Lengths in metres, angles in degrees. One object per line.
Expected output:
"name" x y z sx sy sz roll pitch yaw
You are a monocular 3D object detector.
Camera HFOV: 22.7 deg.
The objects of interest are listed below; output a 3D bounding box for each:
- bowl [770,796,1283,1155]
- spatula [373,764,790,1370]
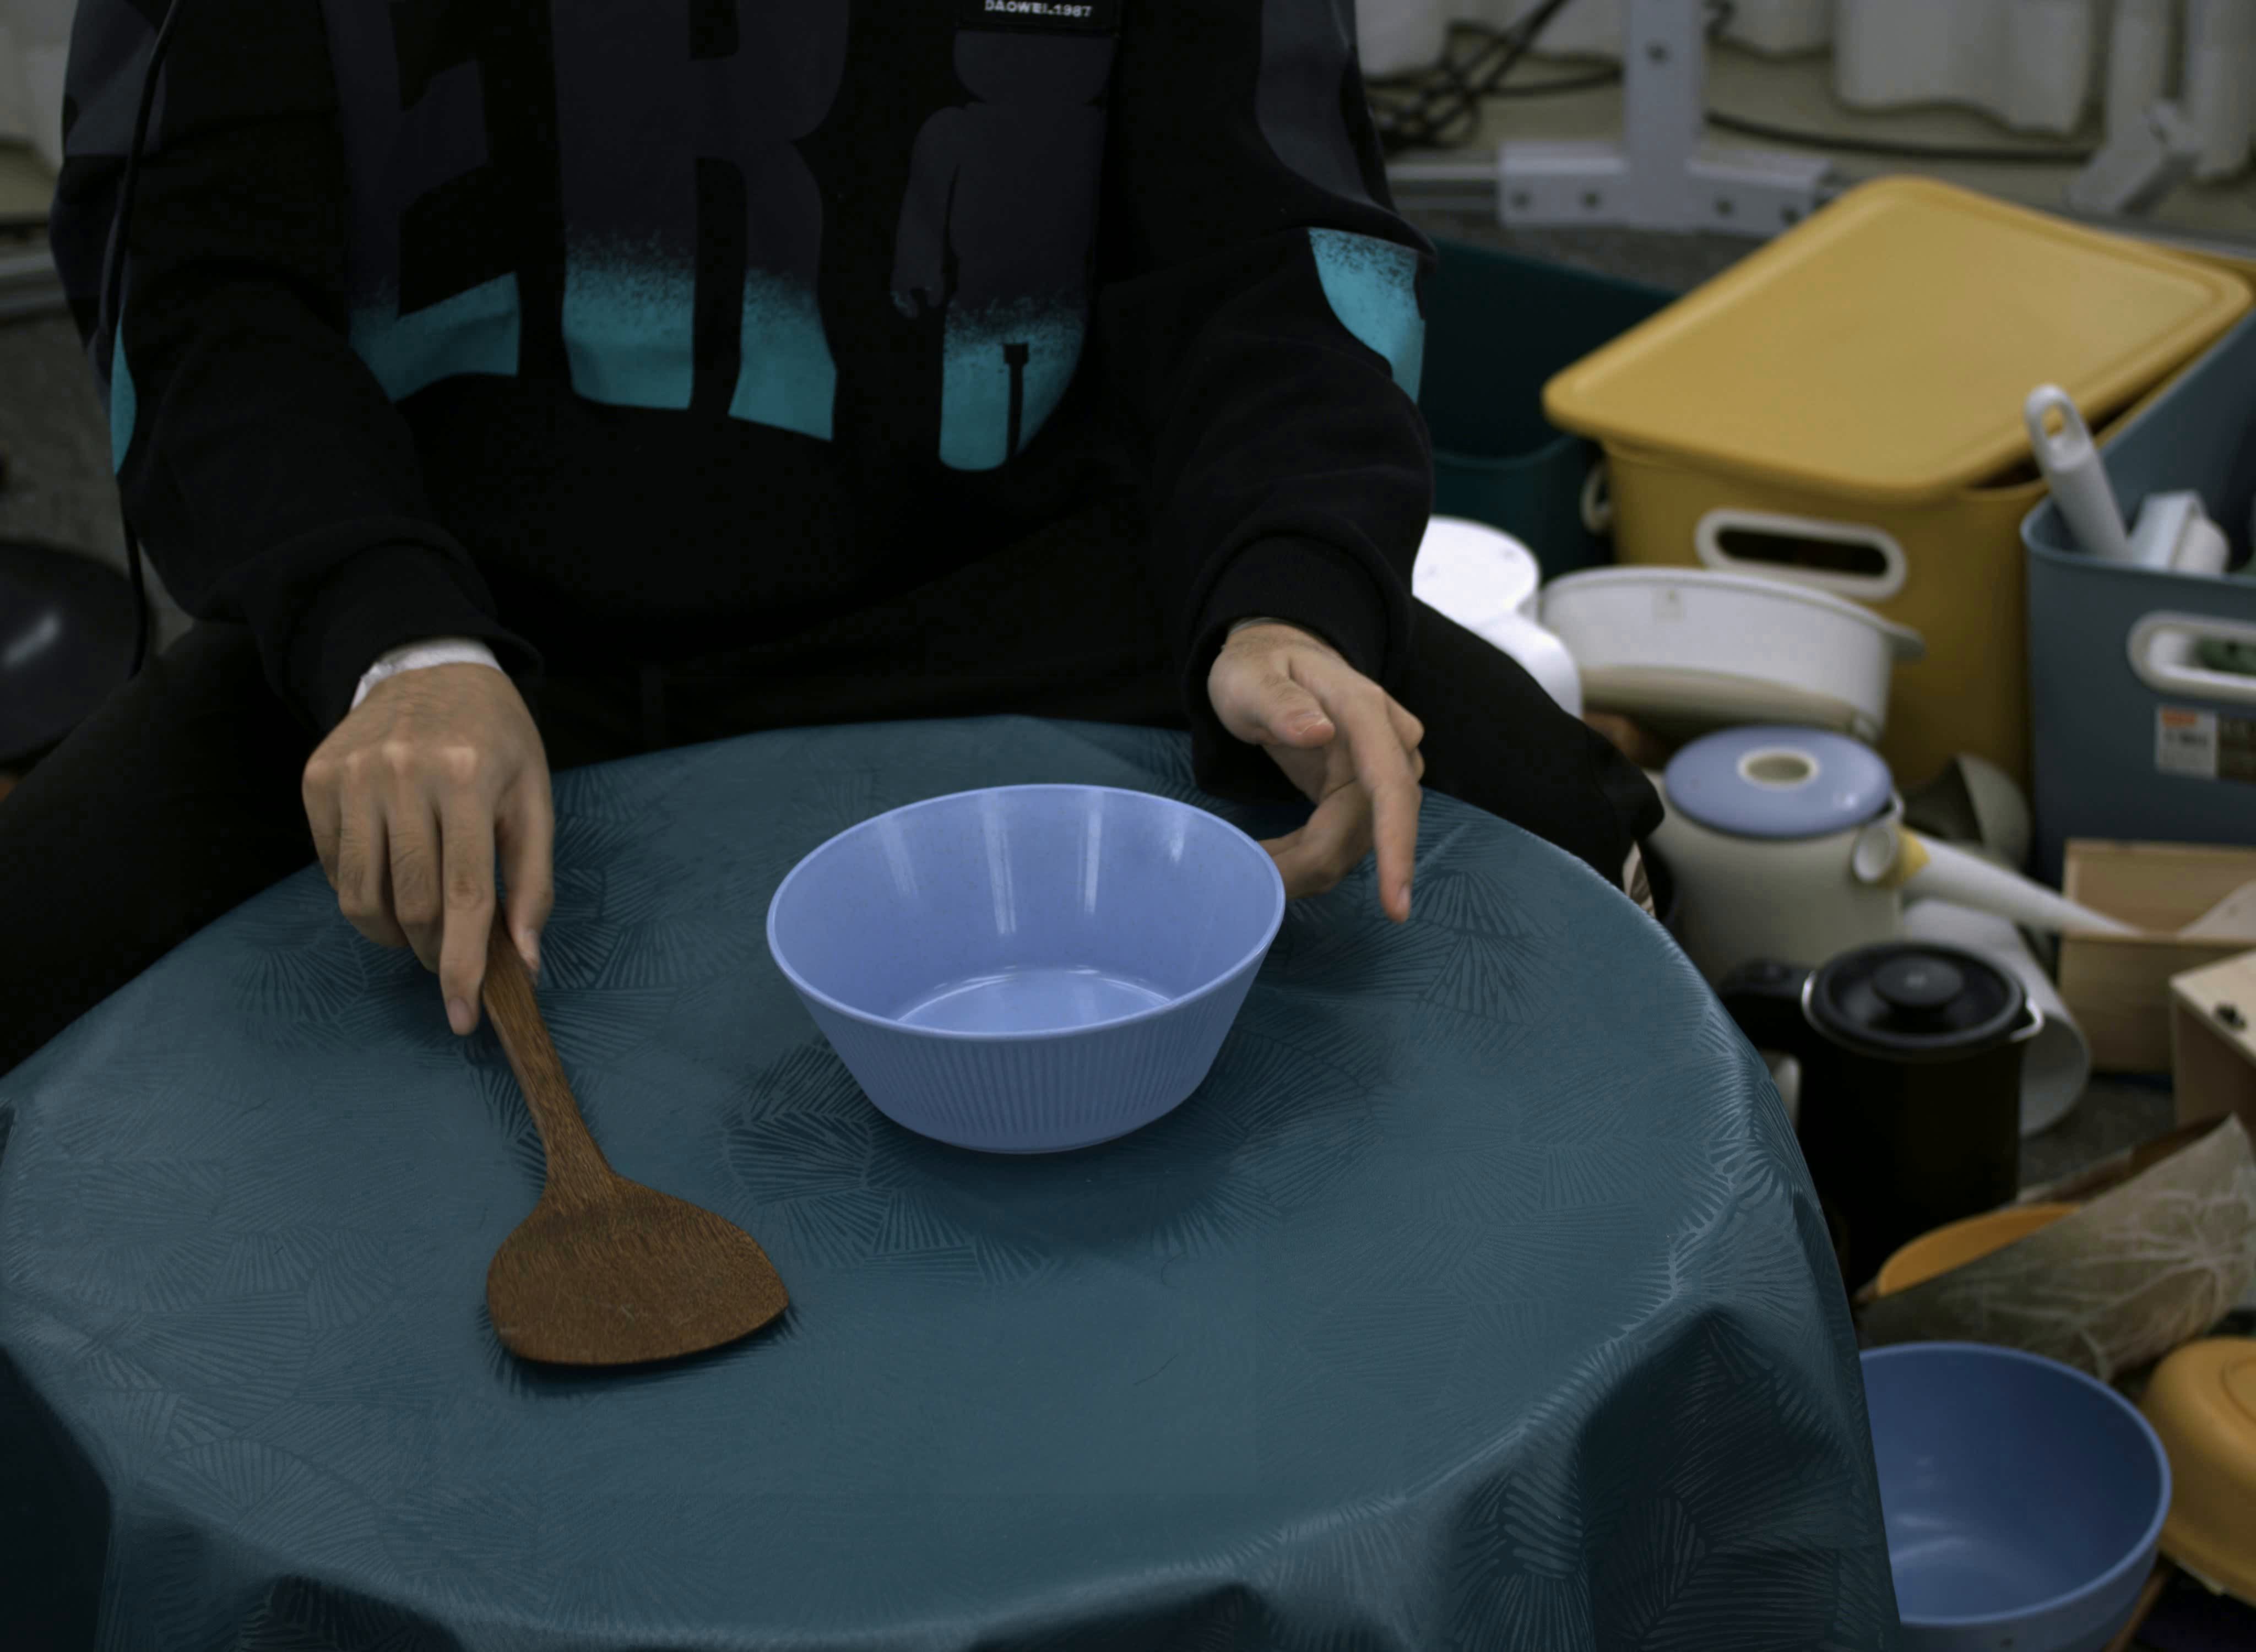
"bowl" -0.033 0.057 1.916 0.175 0.069 0.178 -2 26 1
"spatula" -0.208 0.074 1.930 0.096 0.015 0.390 -8 33 -17
